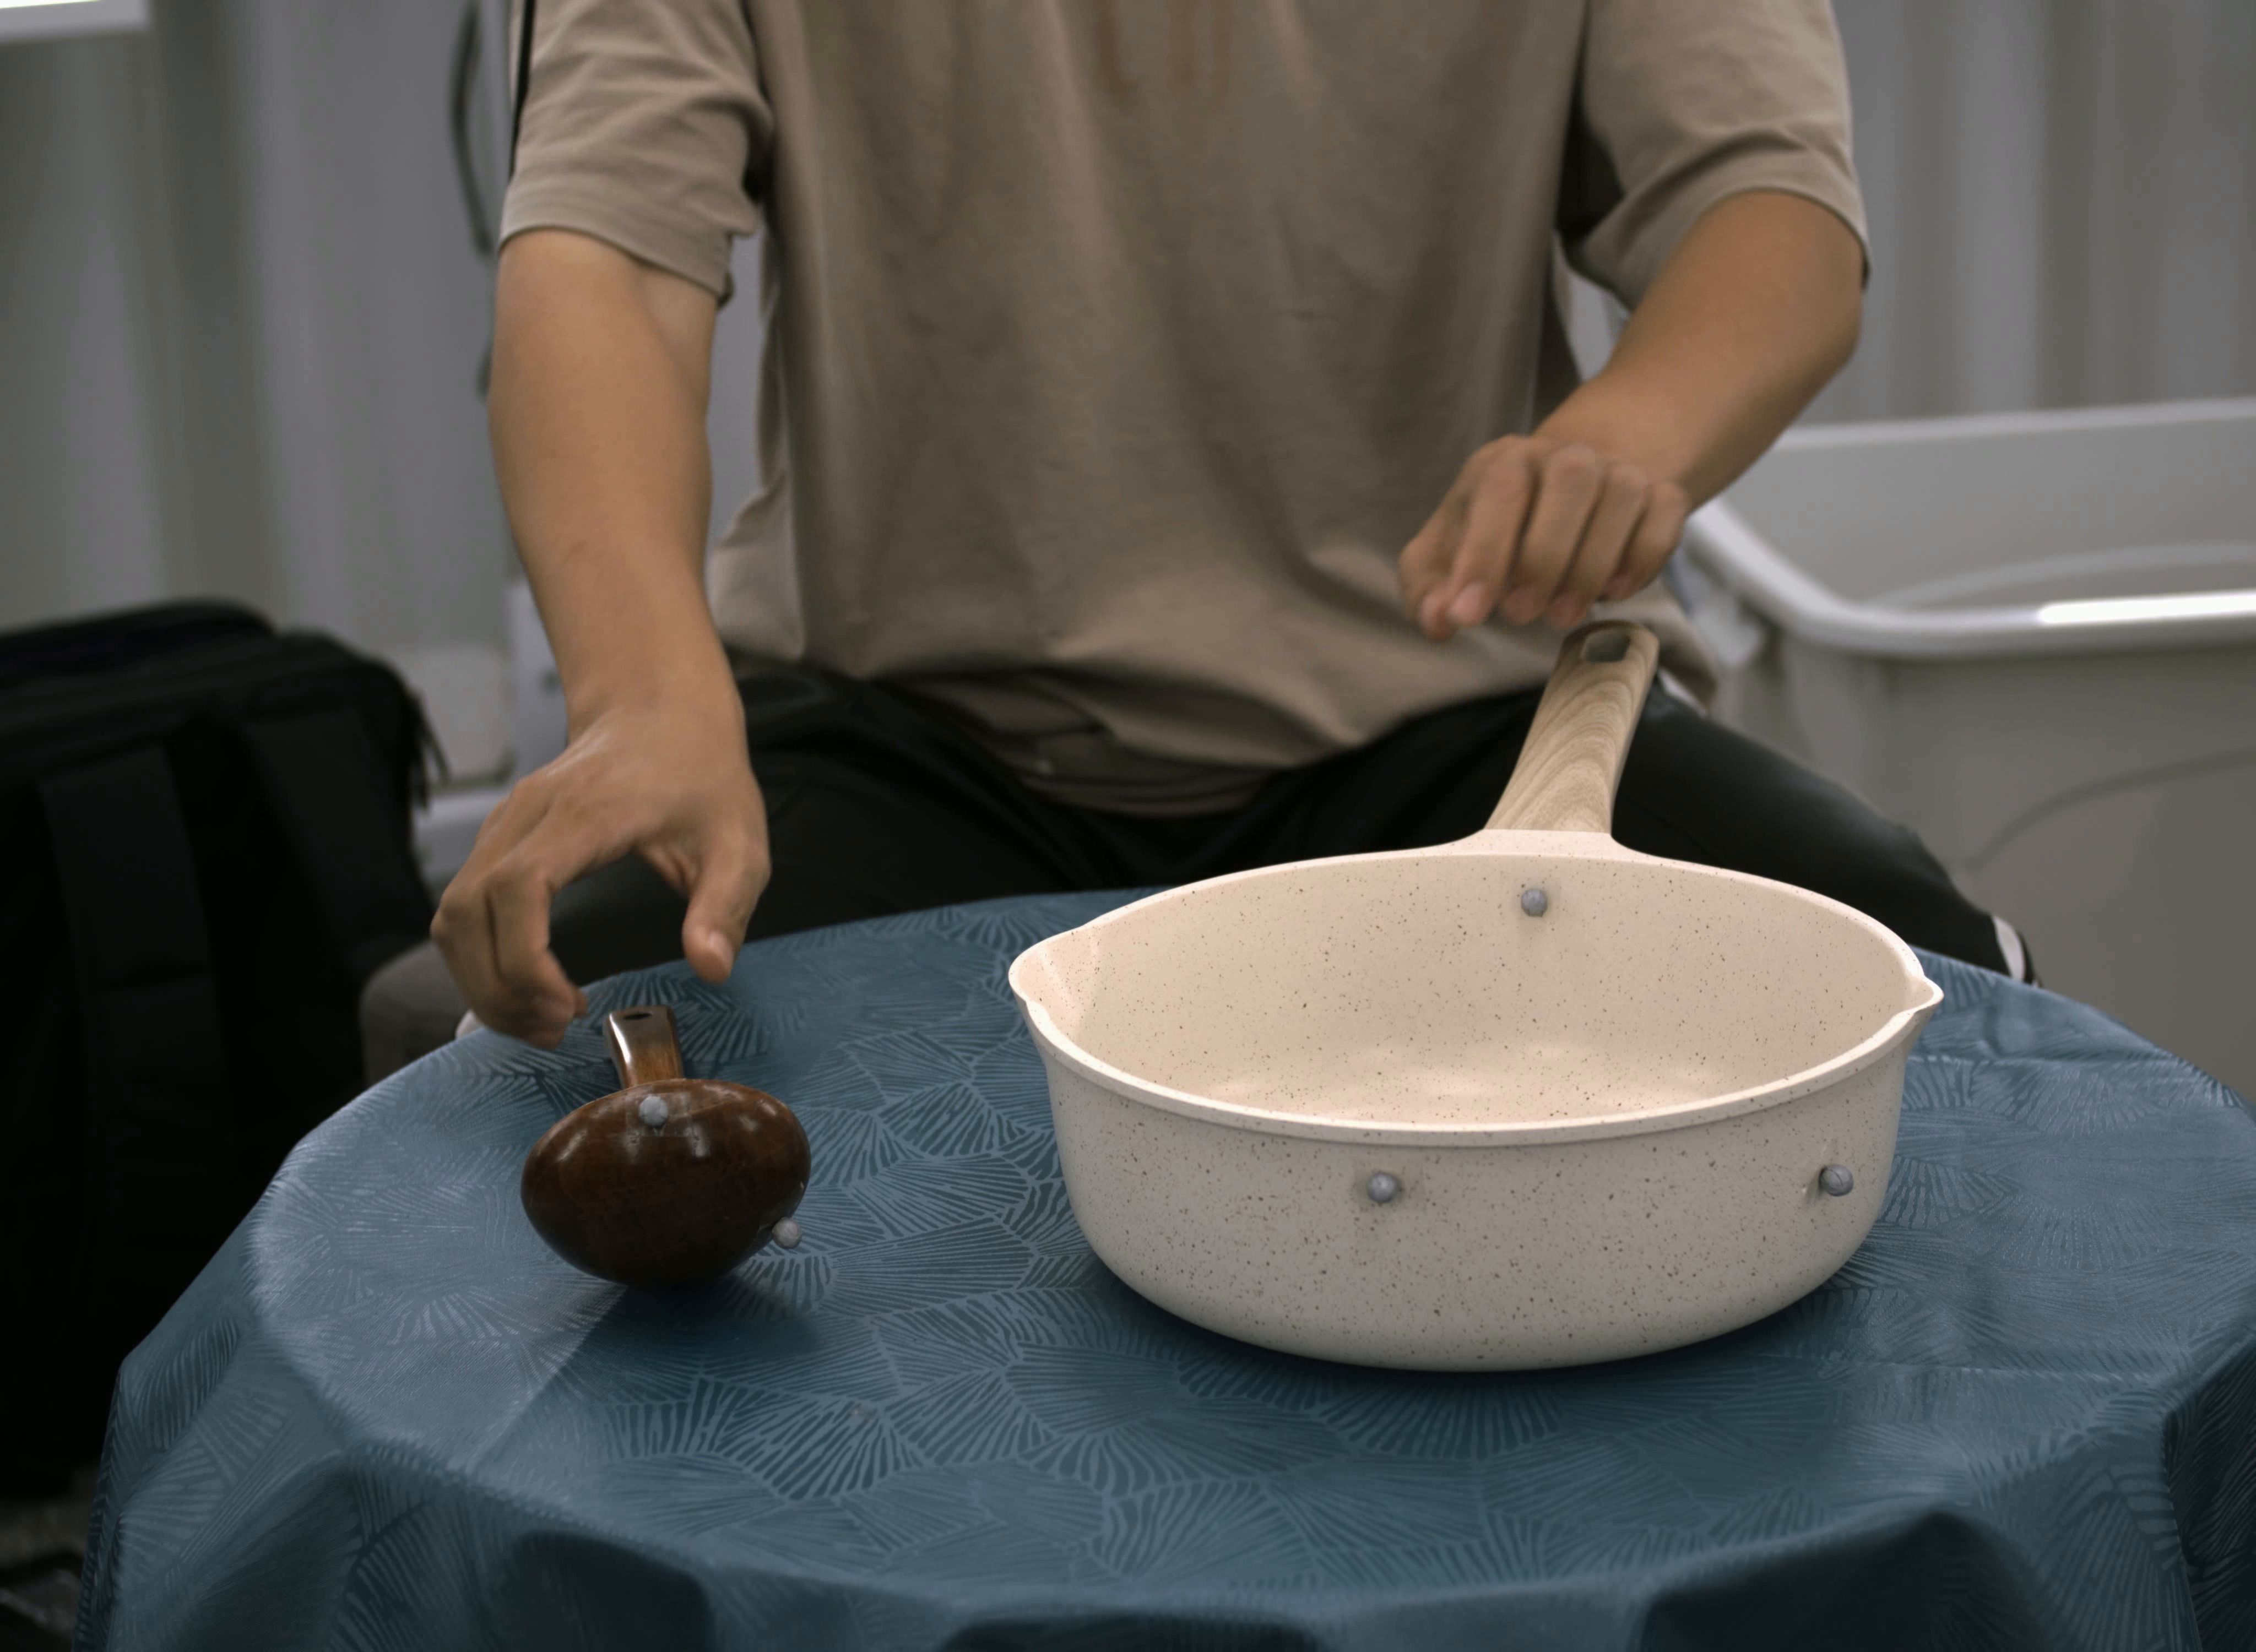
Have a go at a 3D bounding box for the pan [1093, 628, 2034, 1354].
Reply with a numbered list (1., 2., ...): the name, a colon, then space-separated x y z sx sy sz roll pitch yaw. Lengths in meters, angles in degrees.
1. pan: 0.140 0.044 1.568 0.265 0.102 0.432 0 16 13

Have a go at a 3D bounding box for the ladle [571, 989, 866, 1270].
1. ladle: -0.123 0.065 1.568 0.081 0.076 0.276 -4 17 -4
